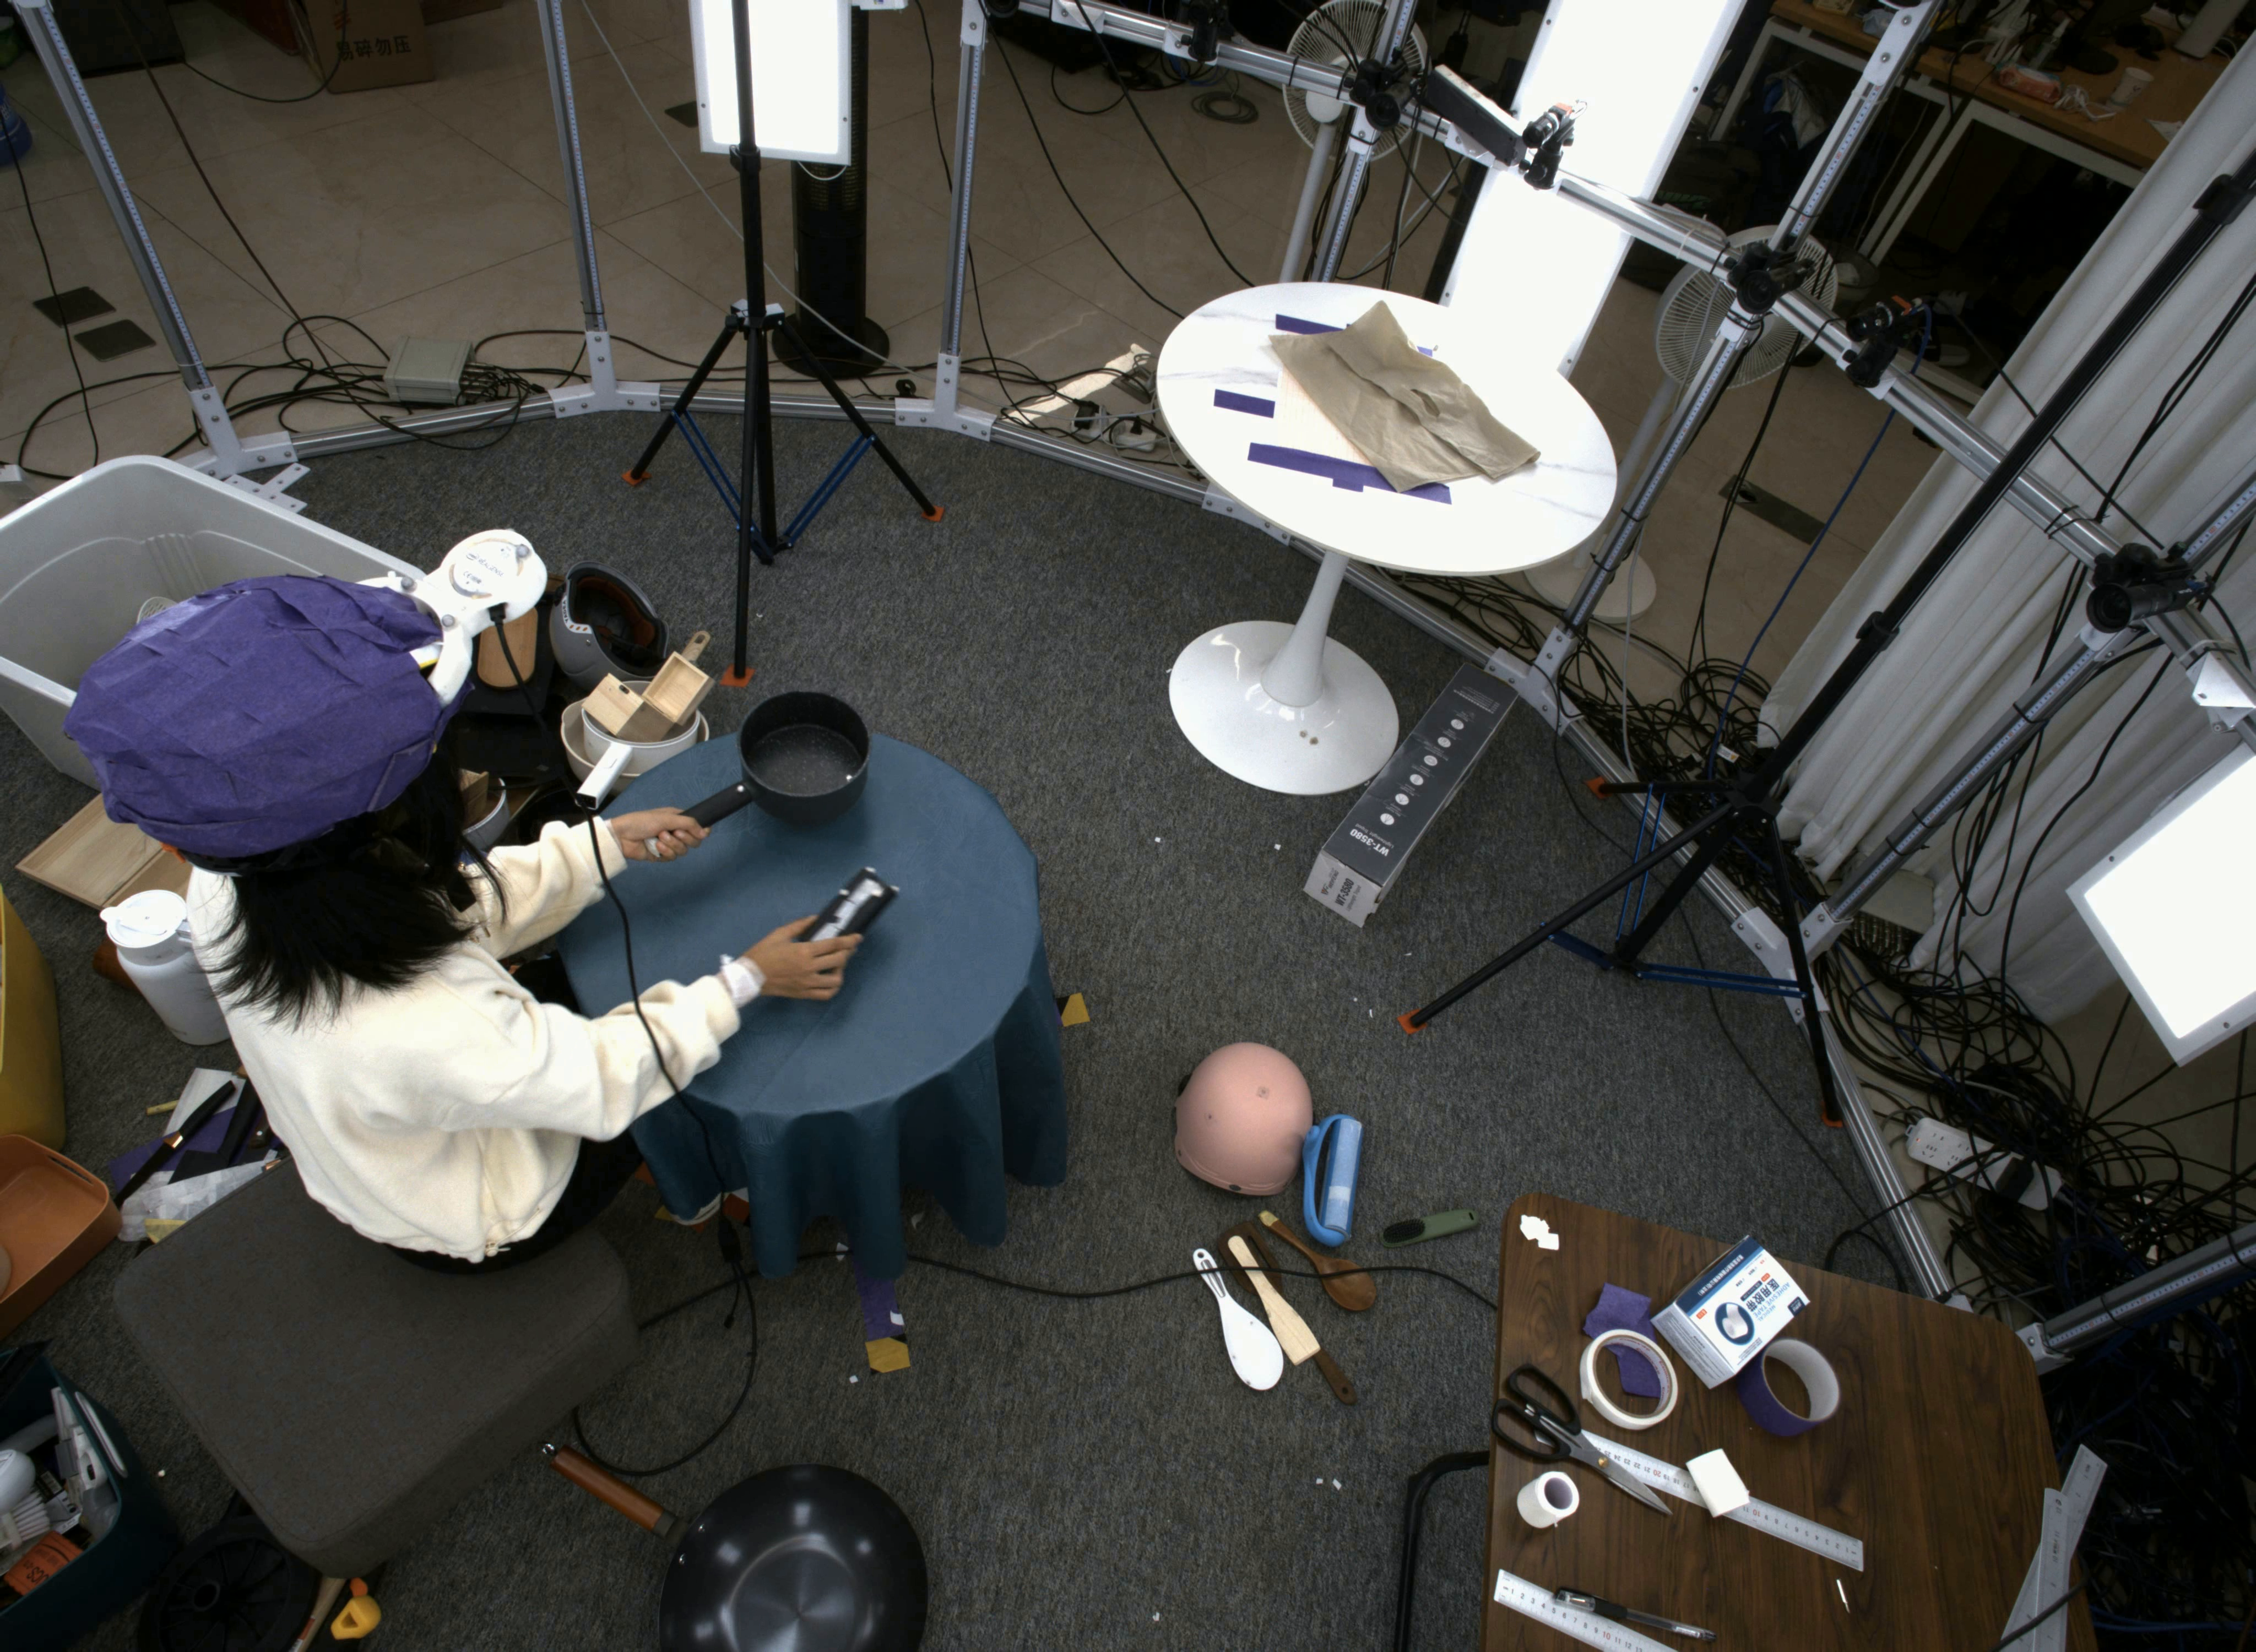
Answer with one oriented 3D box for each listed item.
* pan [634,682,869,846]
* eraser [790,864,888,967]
[{"bbox_3d":[-0.478,-0.054,1.640,0.169,0.088,0.329,44,56,13],"label":"pan"},{"bbox_3d":[-0.351,0.106,1.579,0.052,0.031,0.125,32,65,13],"label":"eraser"}]
